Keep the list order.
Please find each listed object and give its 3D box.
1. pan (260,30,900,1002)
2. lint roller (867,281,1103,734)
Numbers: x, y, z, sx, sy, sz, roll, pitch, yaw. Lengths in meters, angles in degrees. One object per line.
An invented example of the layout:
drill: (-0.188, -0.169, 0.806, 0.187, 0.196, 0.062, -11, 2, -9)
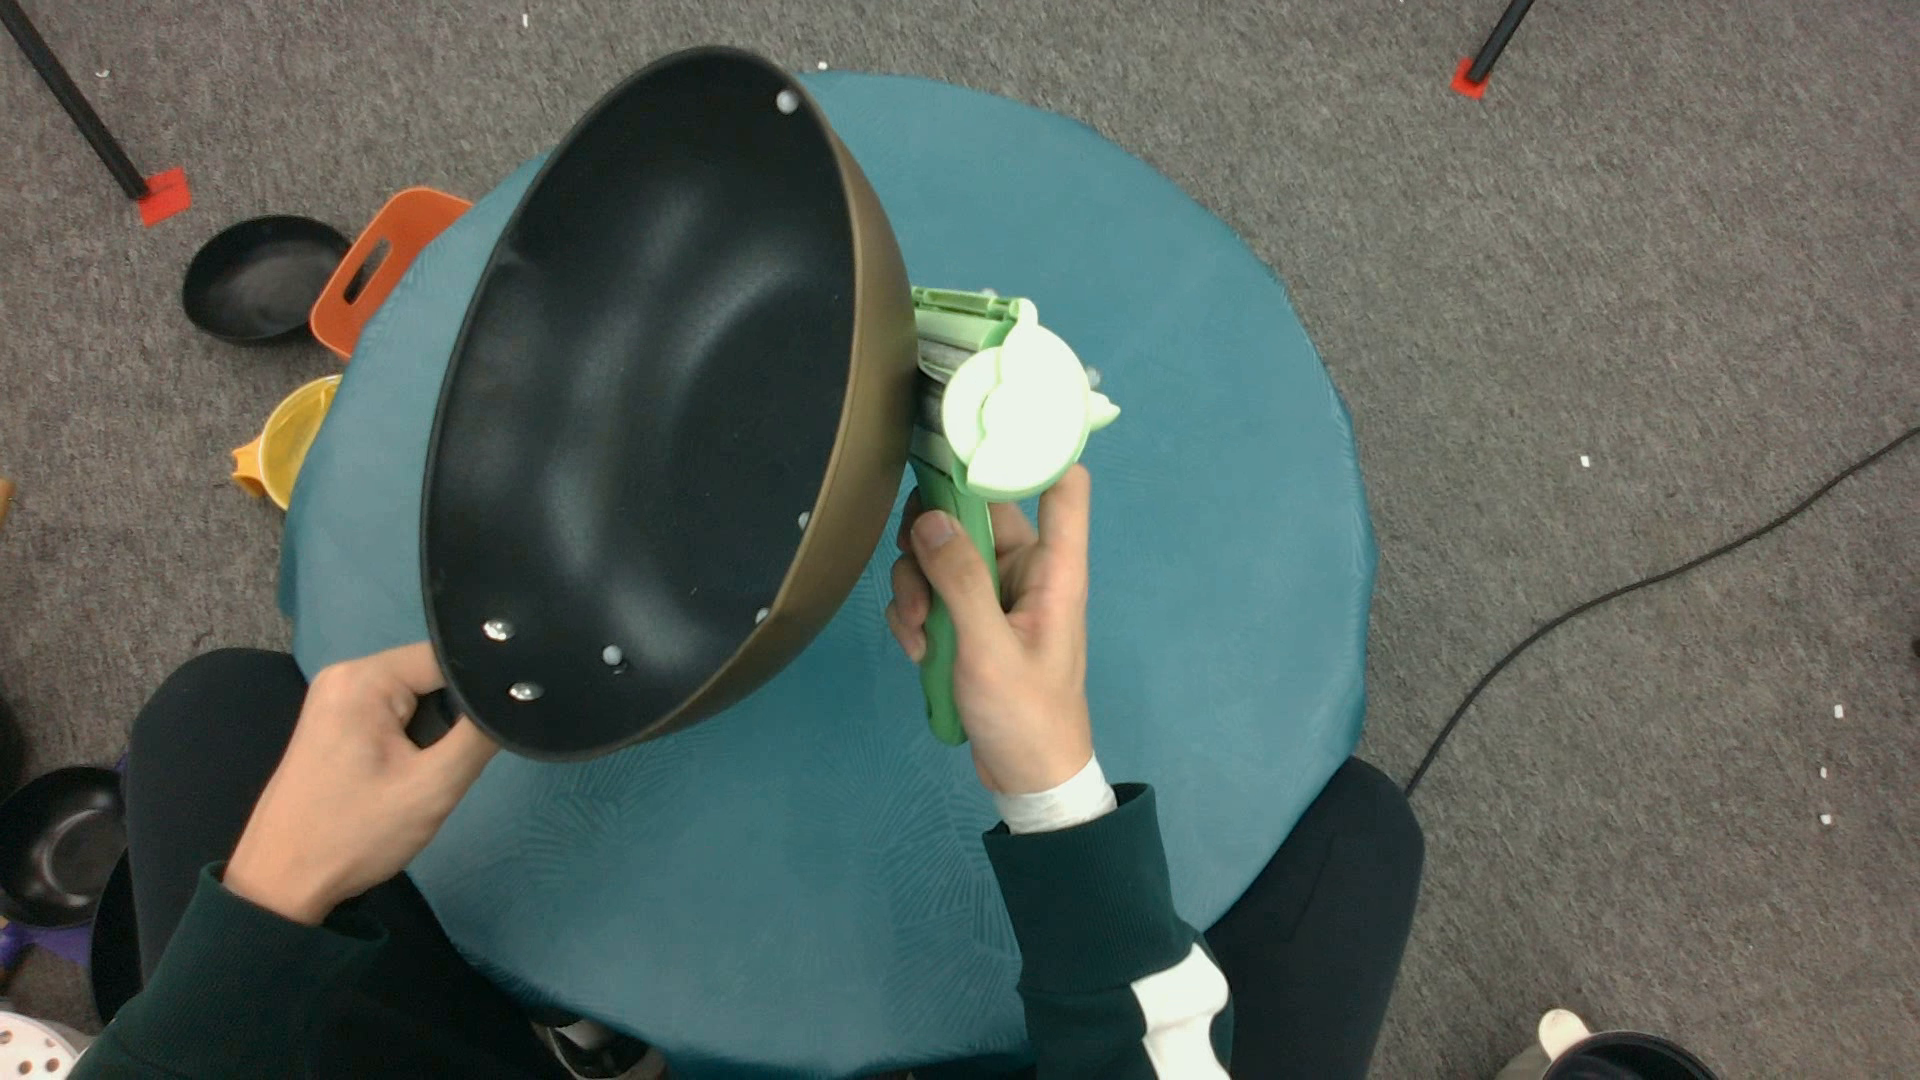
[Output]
pan: (-0.163, 0.022, 0.572, 0.288, 0.087, 0.462, 46, 110, 41)
lint roller: (0.006, -0.014, 0.563, 0.082, 0.198, 0.183, -16, 105, -13)
